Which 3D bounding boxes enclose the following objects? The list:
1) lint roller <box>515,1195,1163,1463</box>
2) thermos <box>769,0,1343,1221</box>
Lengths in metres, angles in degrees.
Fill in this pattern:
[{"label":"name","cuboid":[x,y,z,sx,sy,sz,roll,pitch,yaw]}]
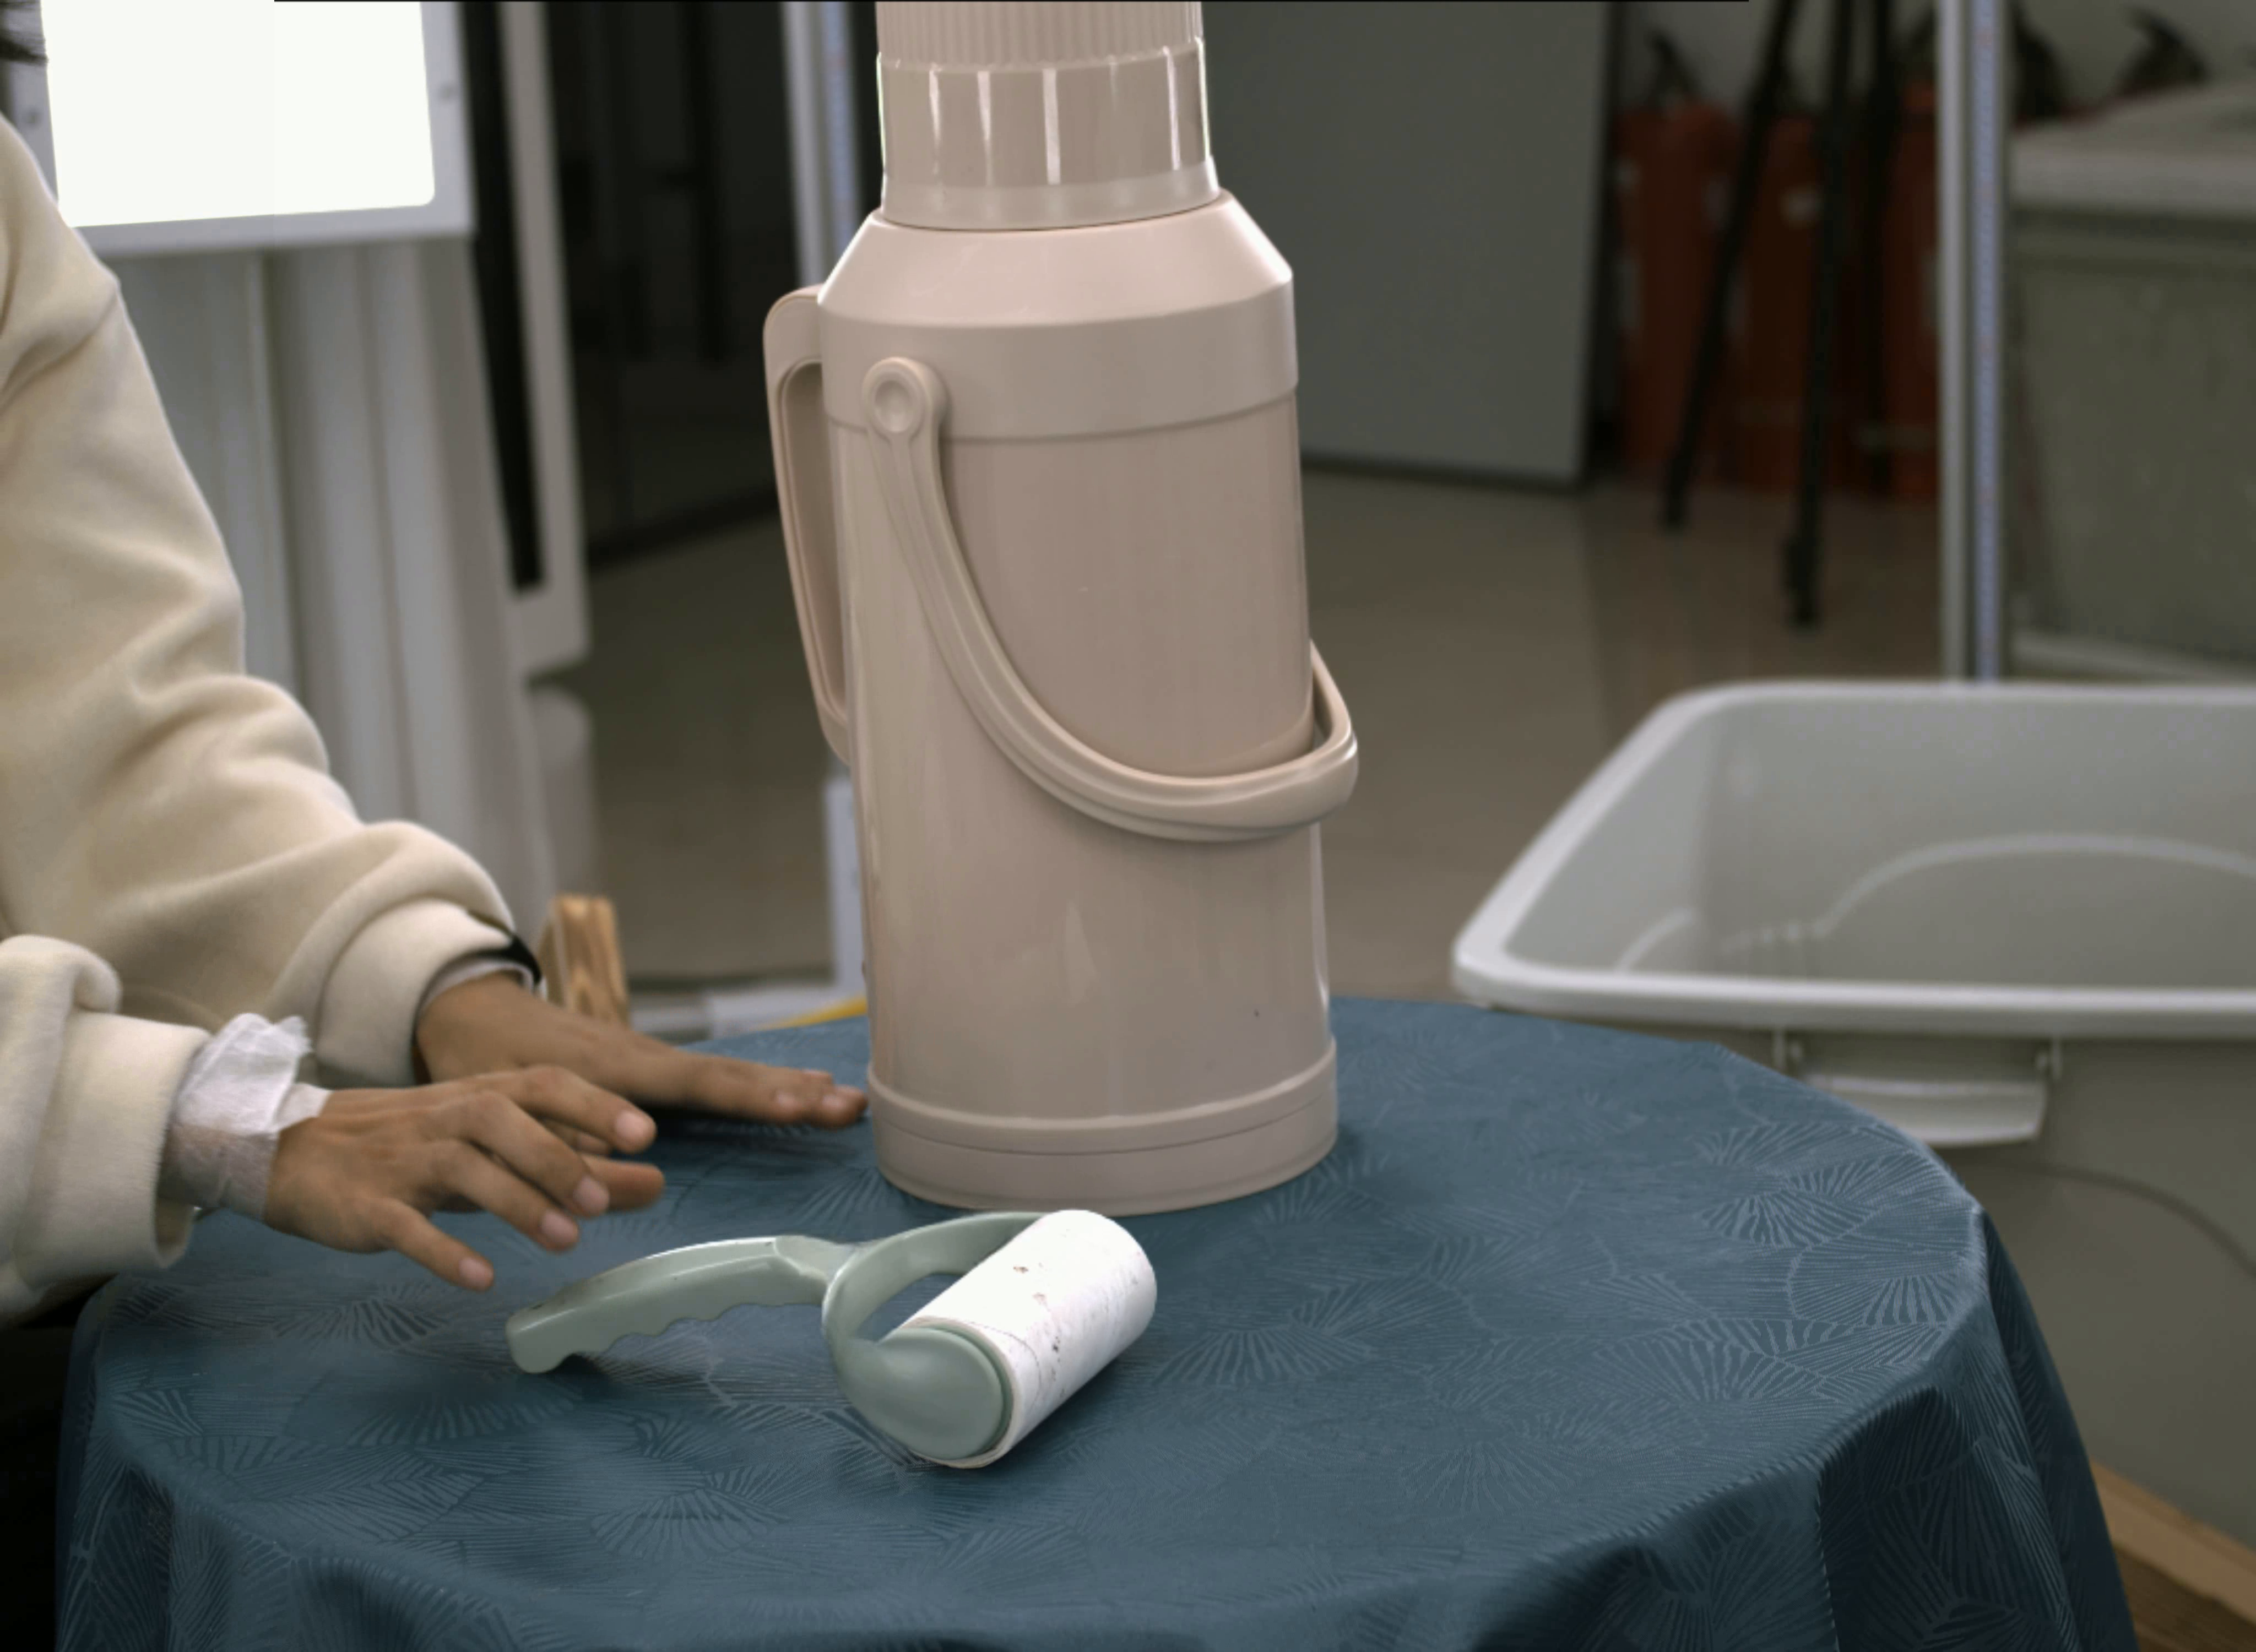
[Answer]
[{"label":"lint roller","cuboid":[-0.095,0.143,1.609,0.198,0.049,0.115,3,18,25]},{"label":"thermos","cuboid":[-0.029,-0.085,1.783,0.208,0.411,0.172,6,17,37]}]
